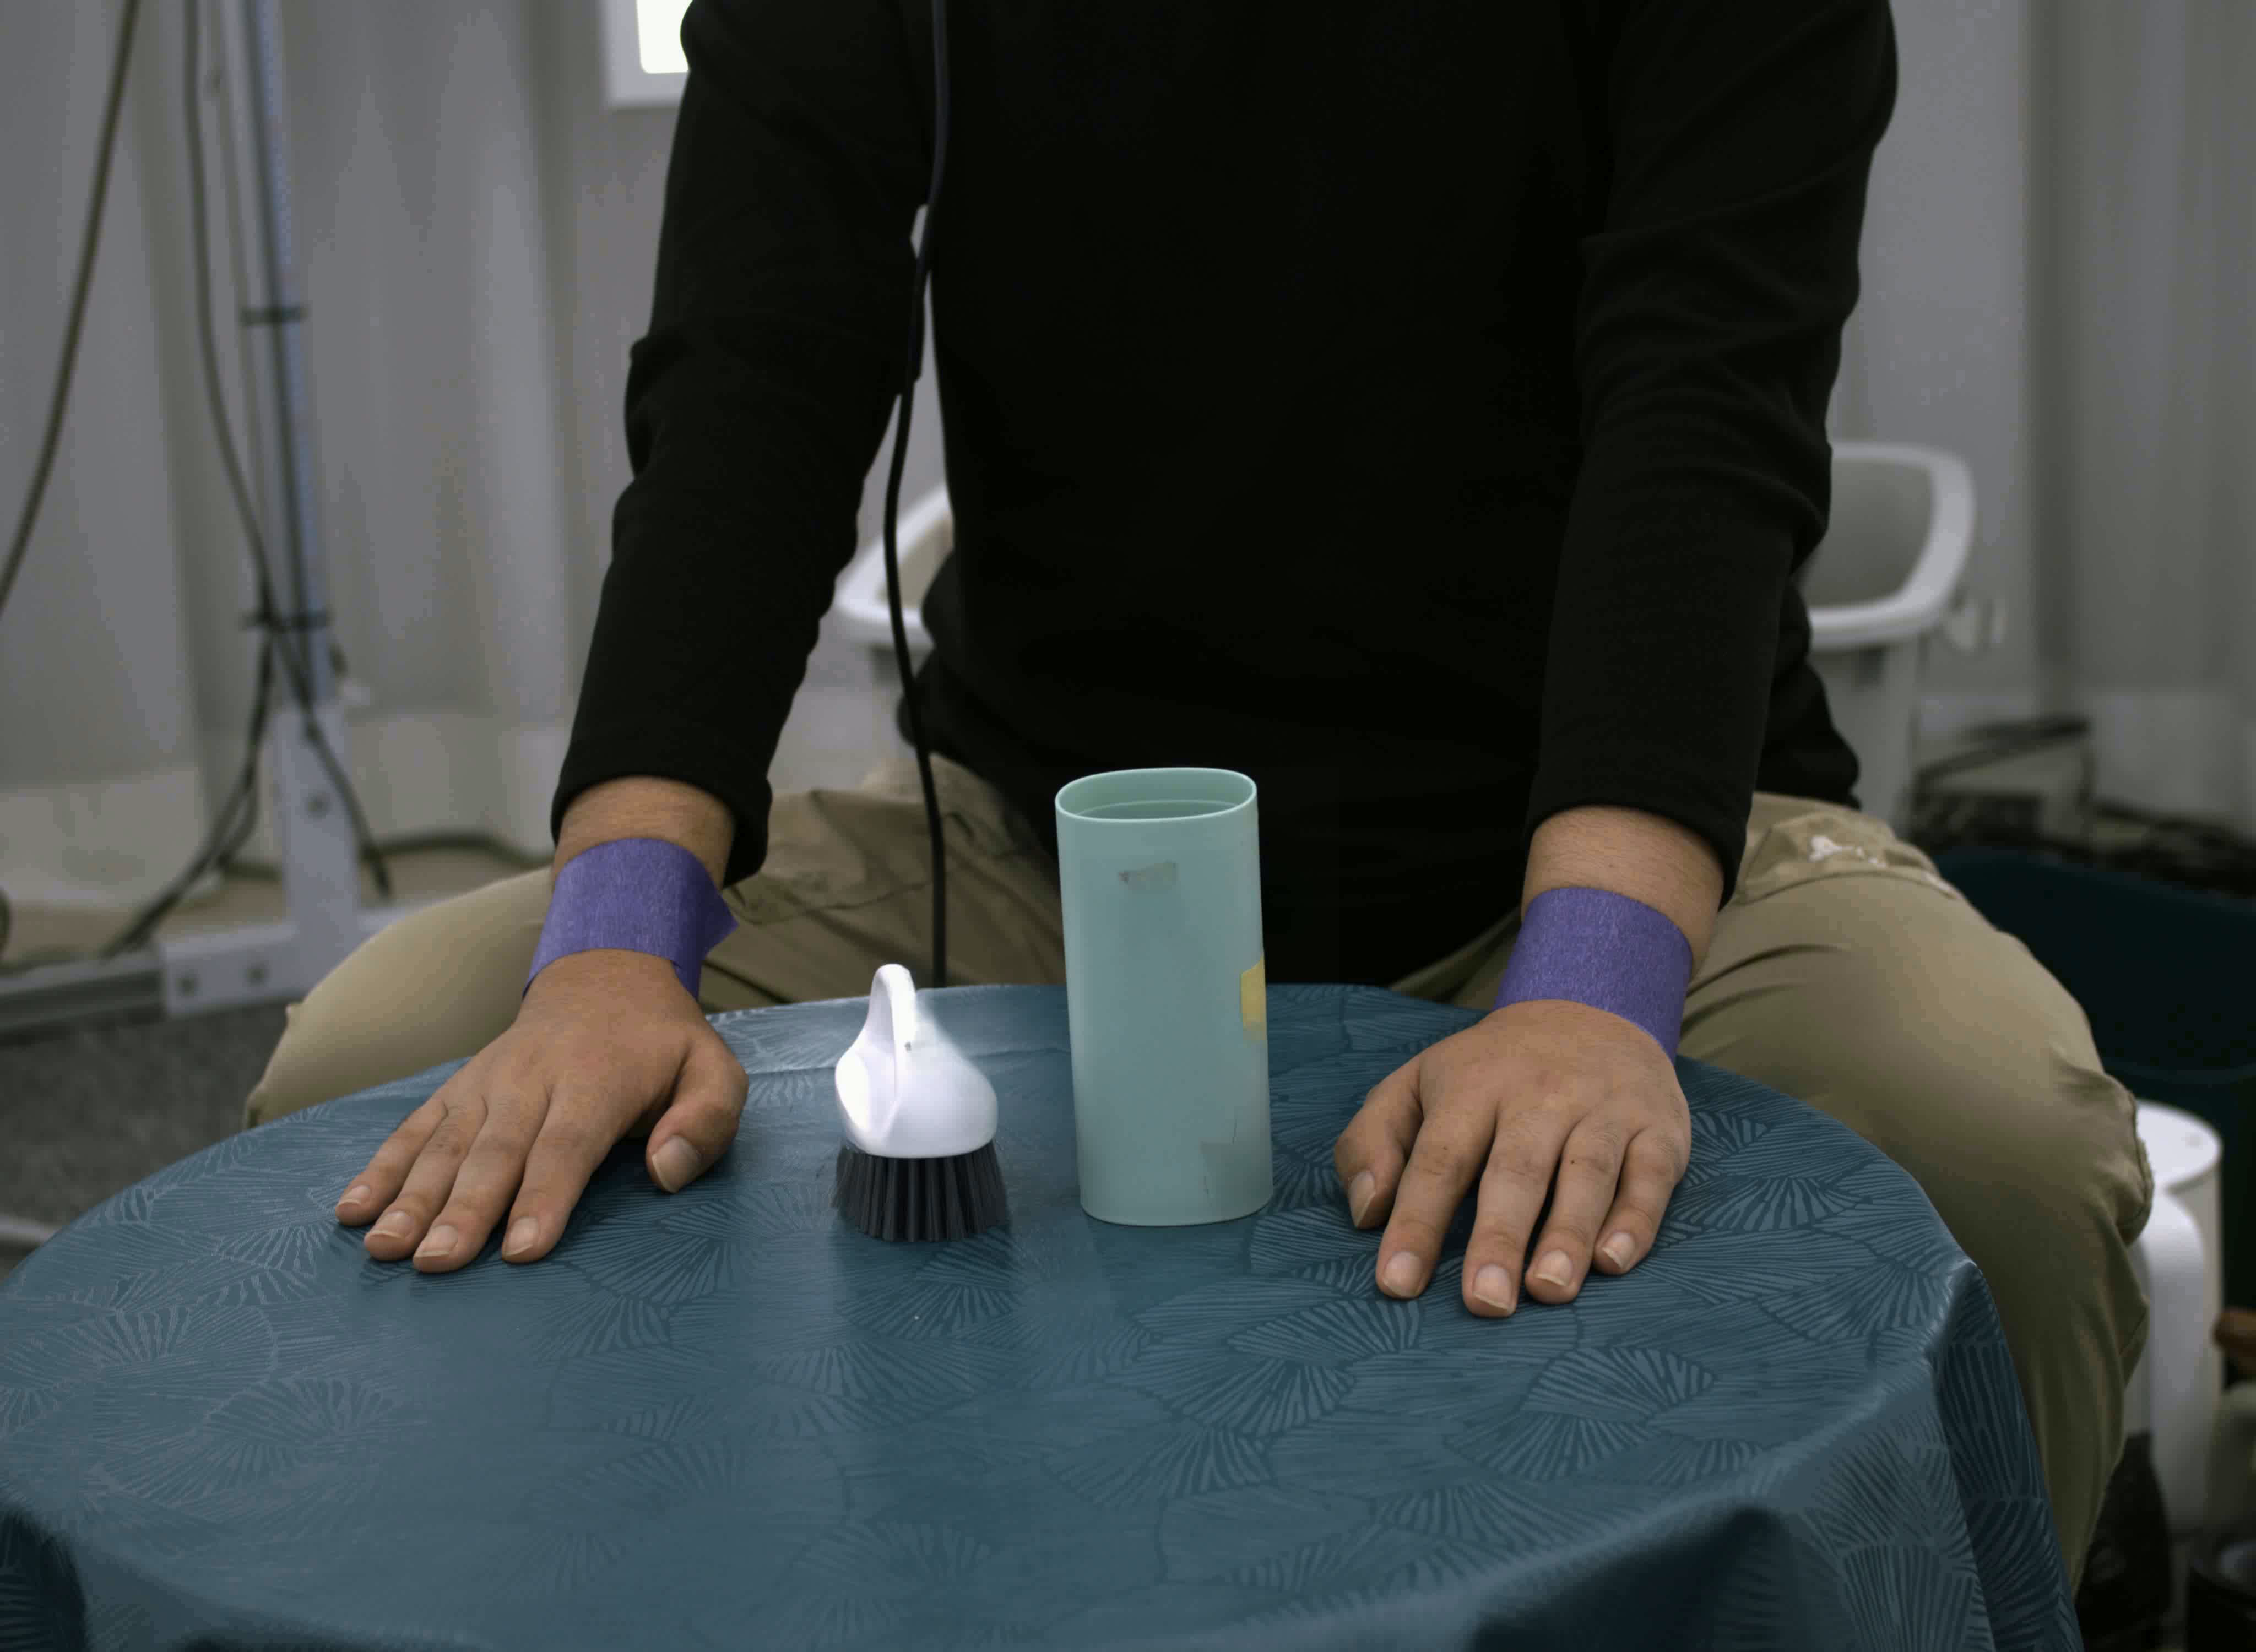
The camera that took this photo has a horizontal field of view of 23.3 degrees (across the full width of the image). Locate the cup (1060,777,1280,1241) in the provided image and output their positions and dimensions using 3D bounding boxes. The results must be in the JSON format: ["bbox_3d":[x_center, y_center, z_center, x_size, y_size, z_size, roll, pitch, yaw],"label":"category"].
[{"bbox_3d":[0.012,0.056,1.695,0.066,0.132,0.067,-3,14,1],"label":"cup"}]

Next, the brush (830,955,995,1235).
[{"bbox_3d":[-0.069,0.079,1.715,0.050,0.072,0.100,-3,16,-6],"label":"brush"}]
